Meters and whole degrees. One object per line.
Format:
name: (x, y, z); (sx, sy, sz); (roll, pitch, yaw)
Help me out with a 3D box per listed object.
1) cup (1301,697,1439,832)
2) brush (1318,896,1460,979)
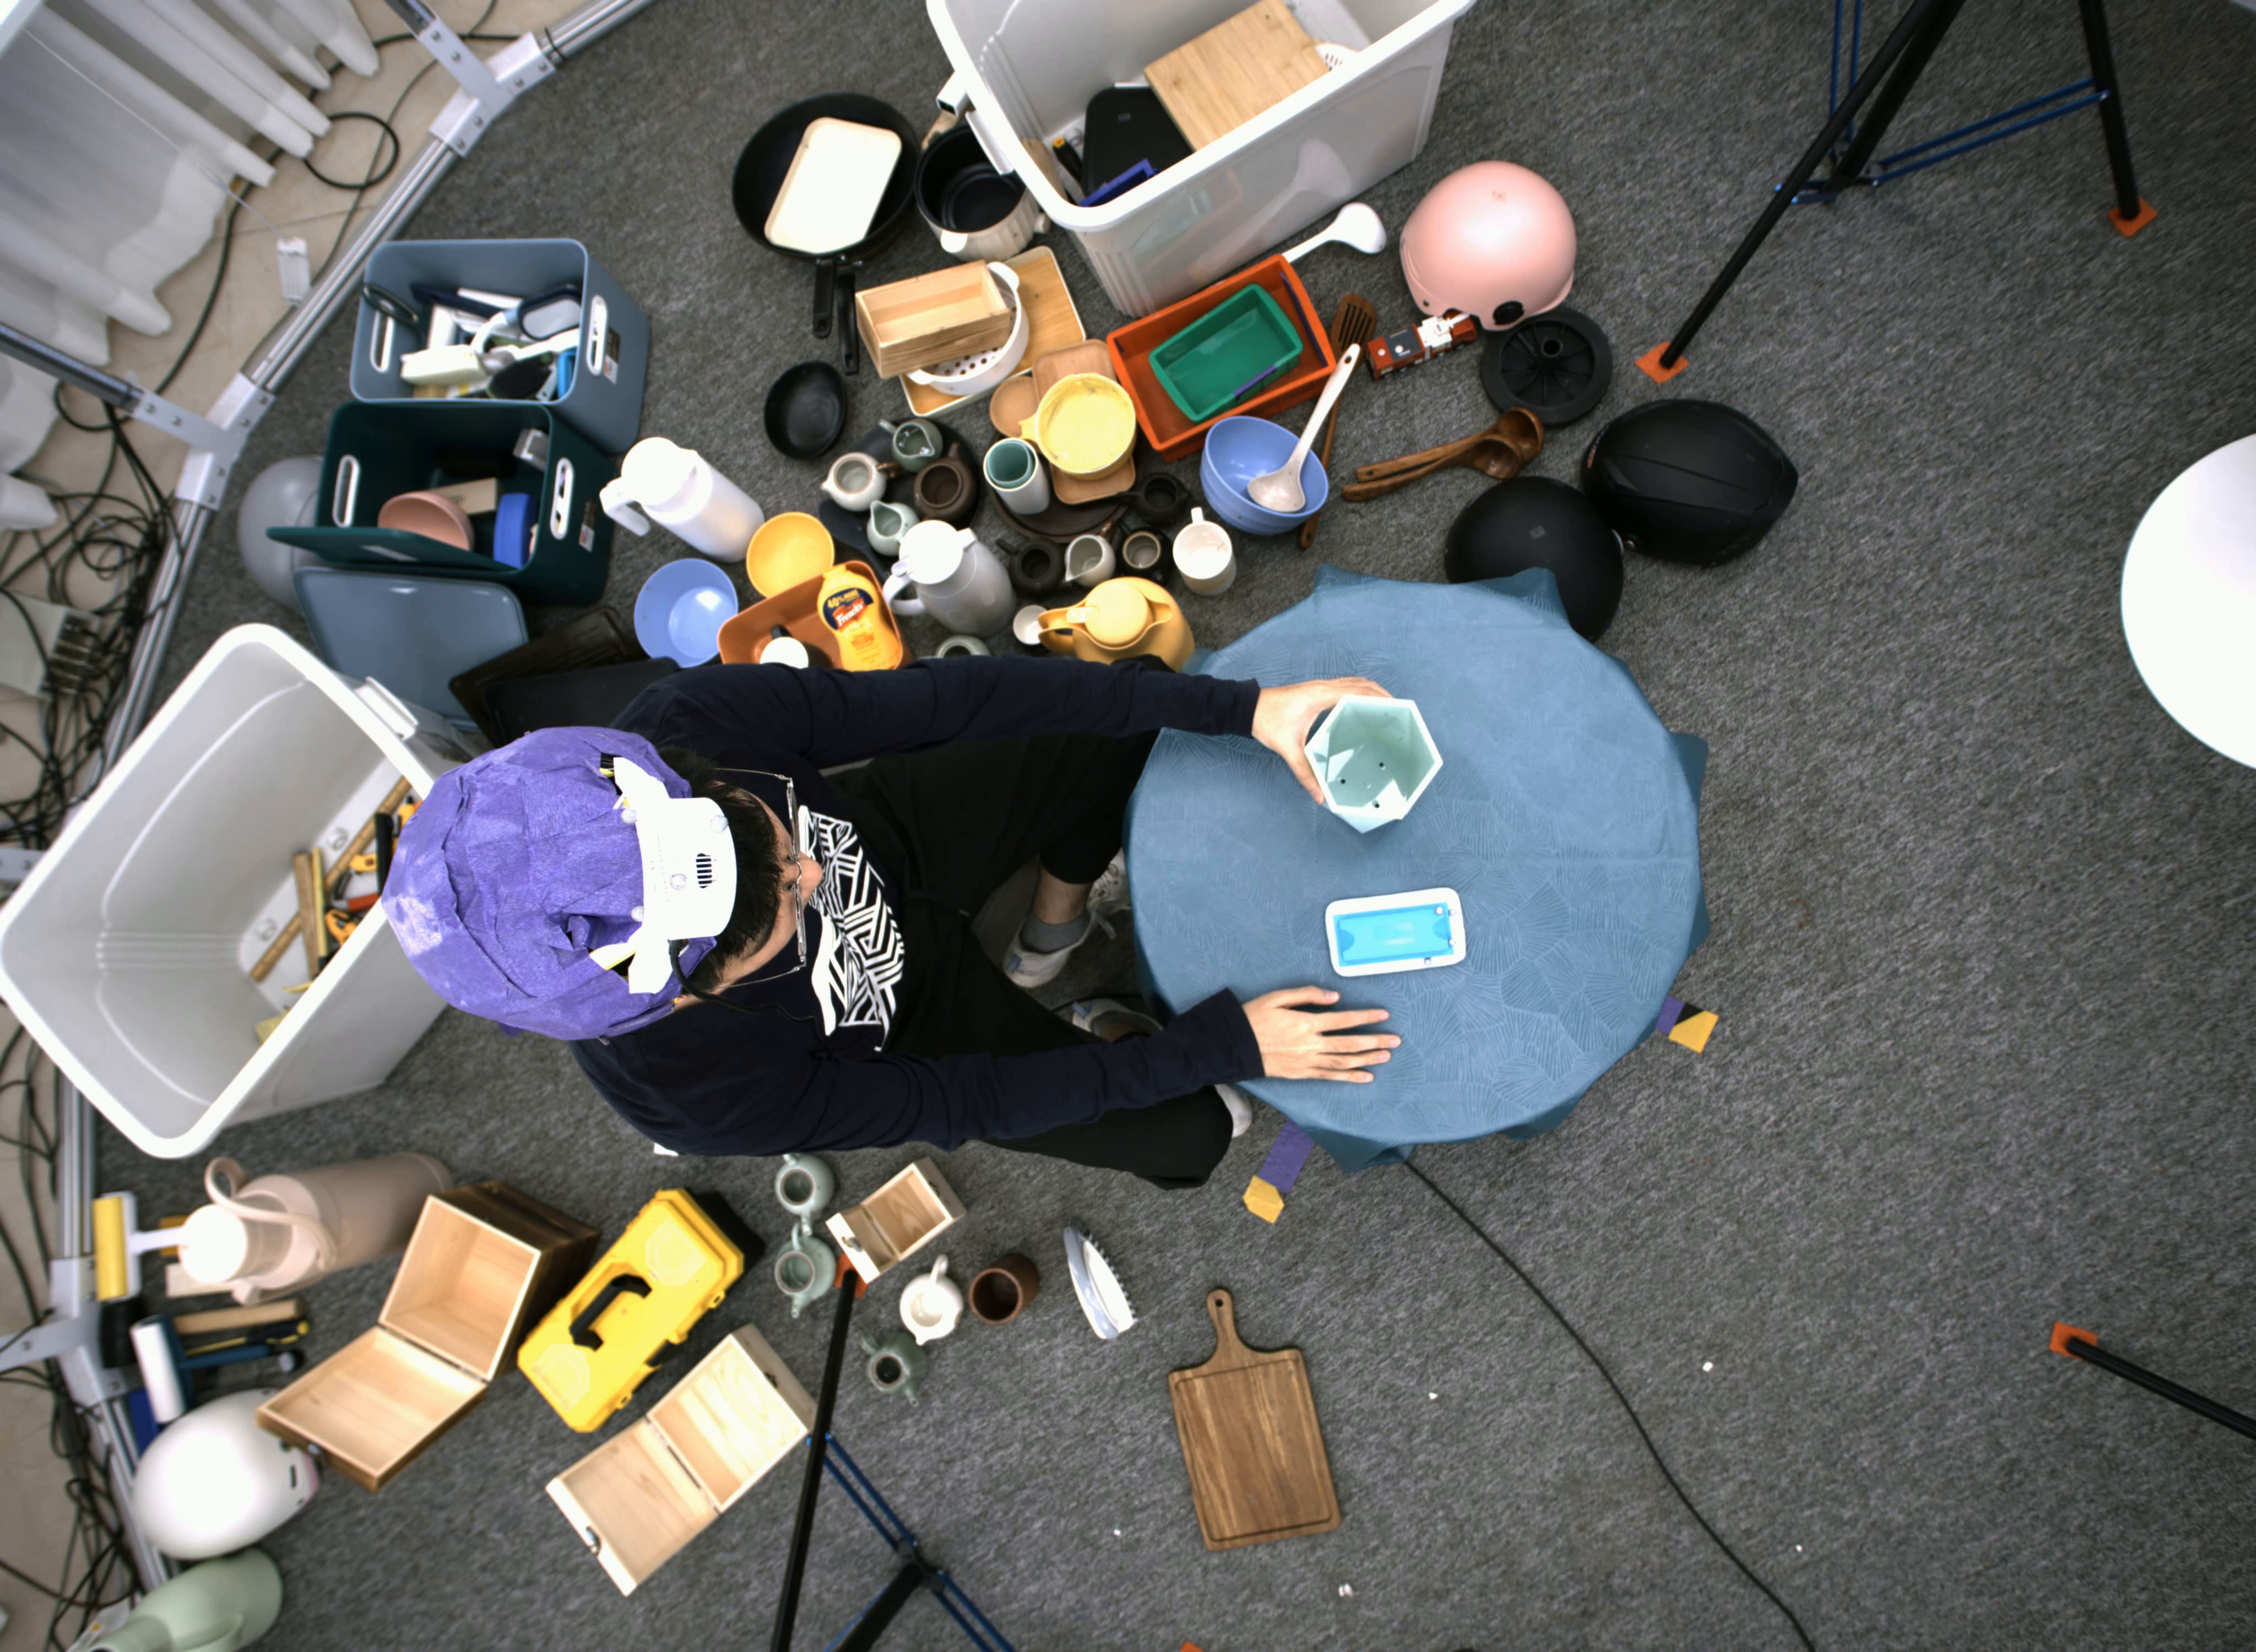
cup: (0.245, -0.057, 1.386); (0.116, 0.163, 0.130); (-25, 81, 8)
brush: (0.269, 0.110, 1.426); (0.144, 0.056, 0.083); (-5, 82, 8)
